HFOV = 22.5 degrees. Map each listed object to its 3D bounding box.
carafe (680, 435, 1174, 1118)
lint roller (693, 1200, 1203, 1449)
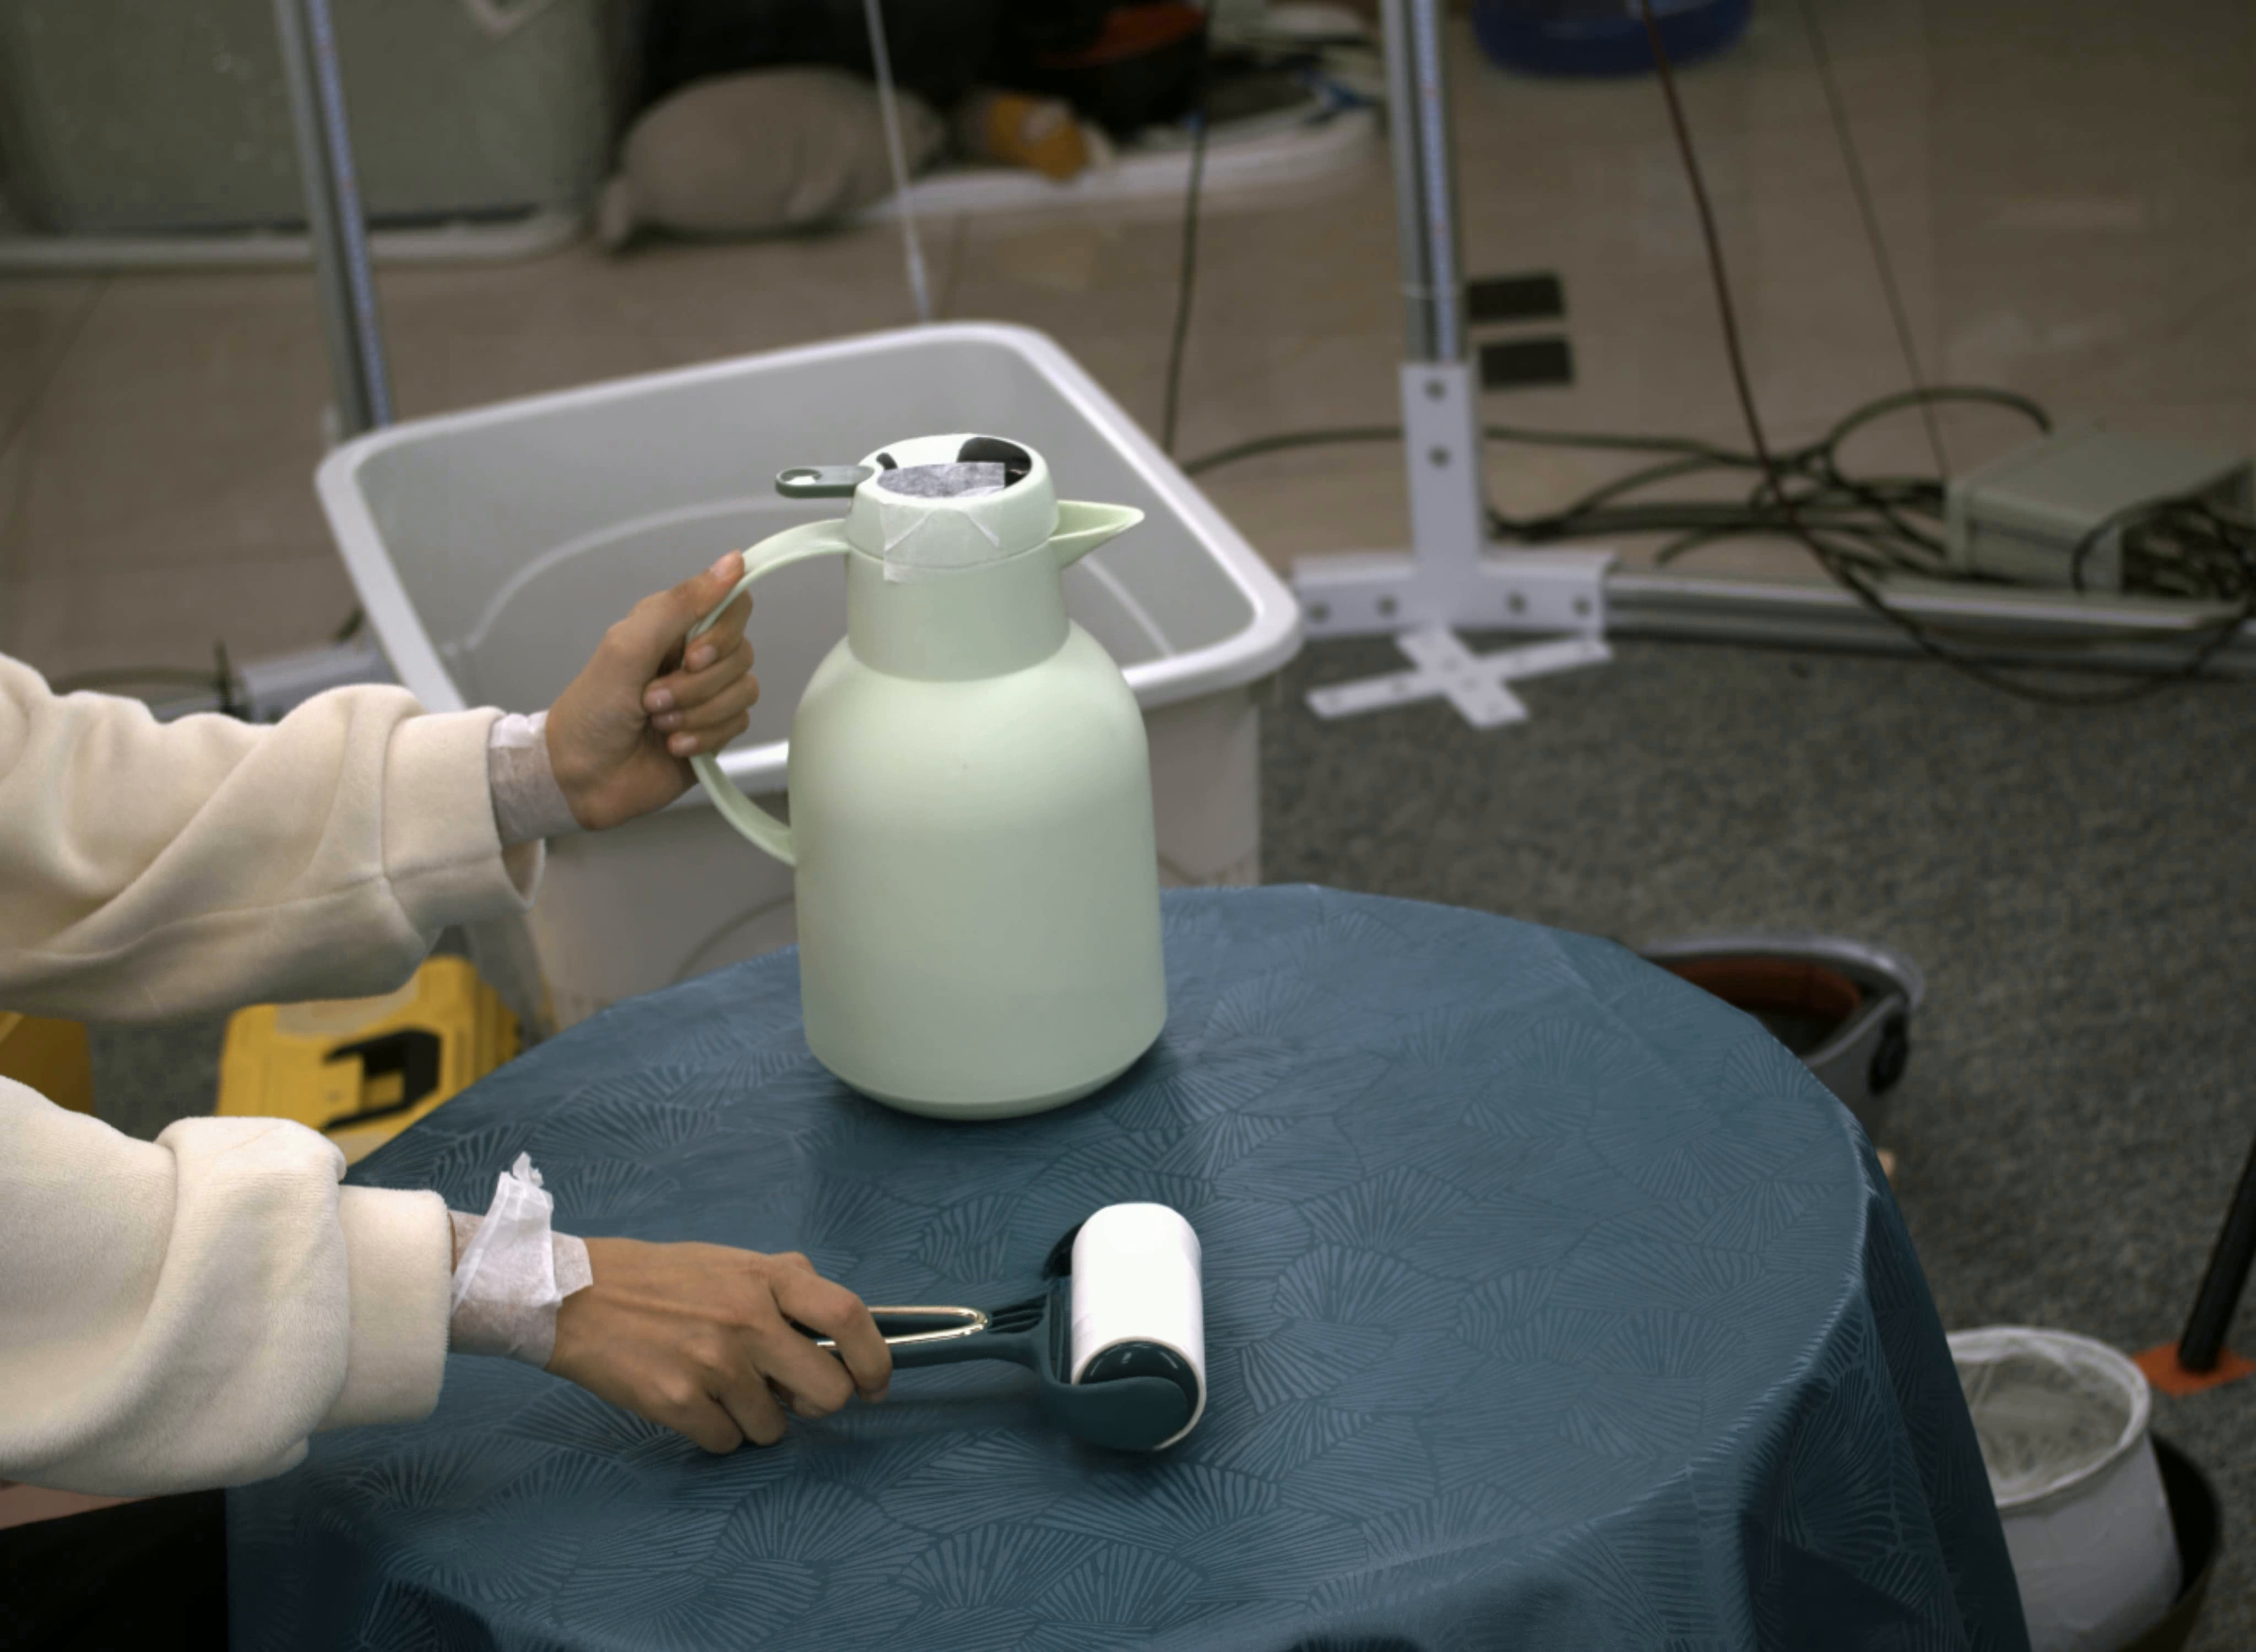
[{"bbox_3d":[-0.075,-0.023,2.206,0.186,0.261,0.142,-6,29,1],"label":"carafe"},{"bbox_3d":[-0.063,0.172,2.008,0.180,0.049,0.132,4,24,-1],"label":"lint roller"}]
